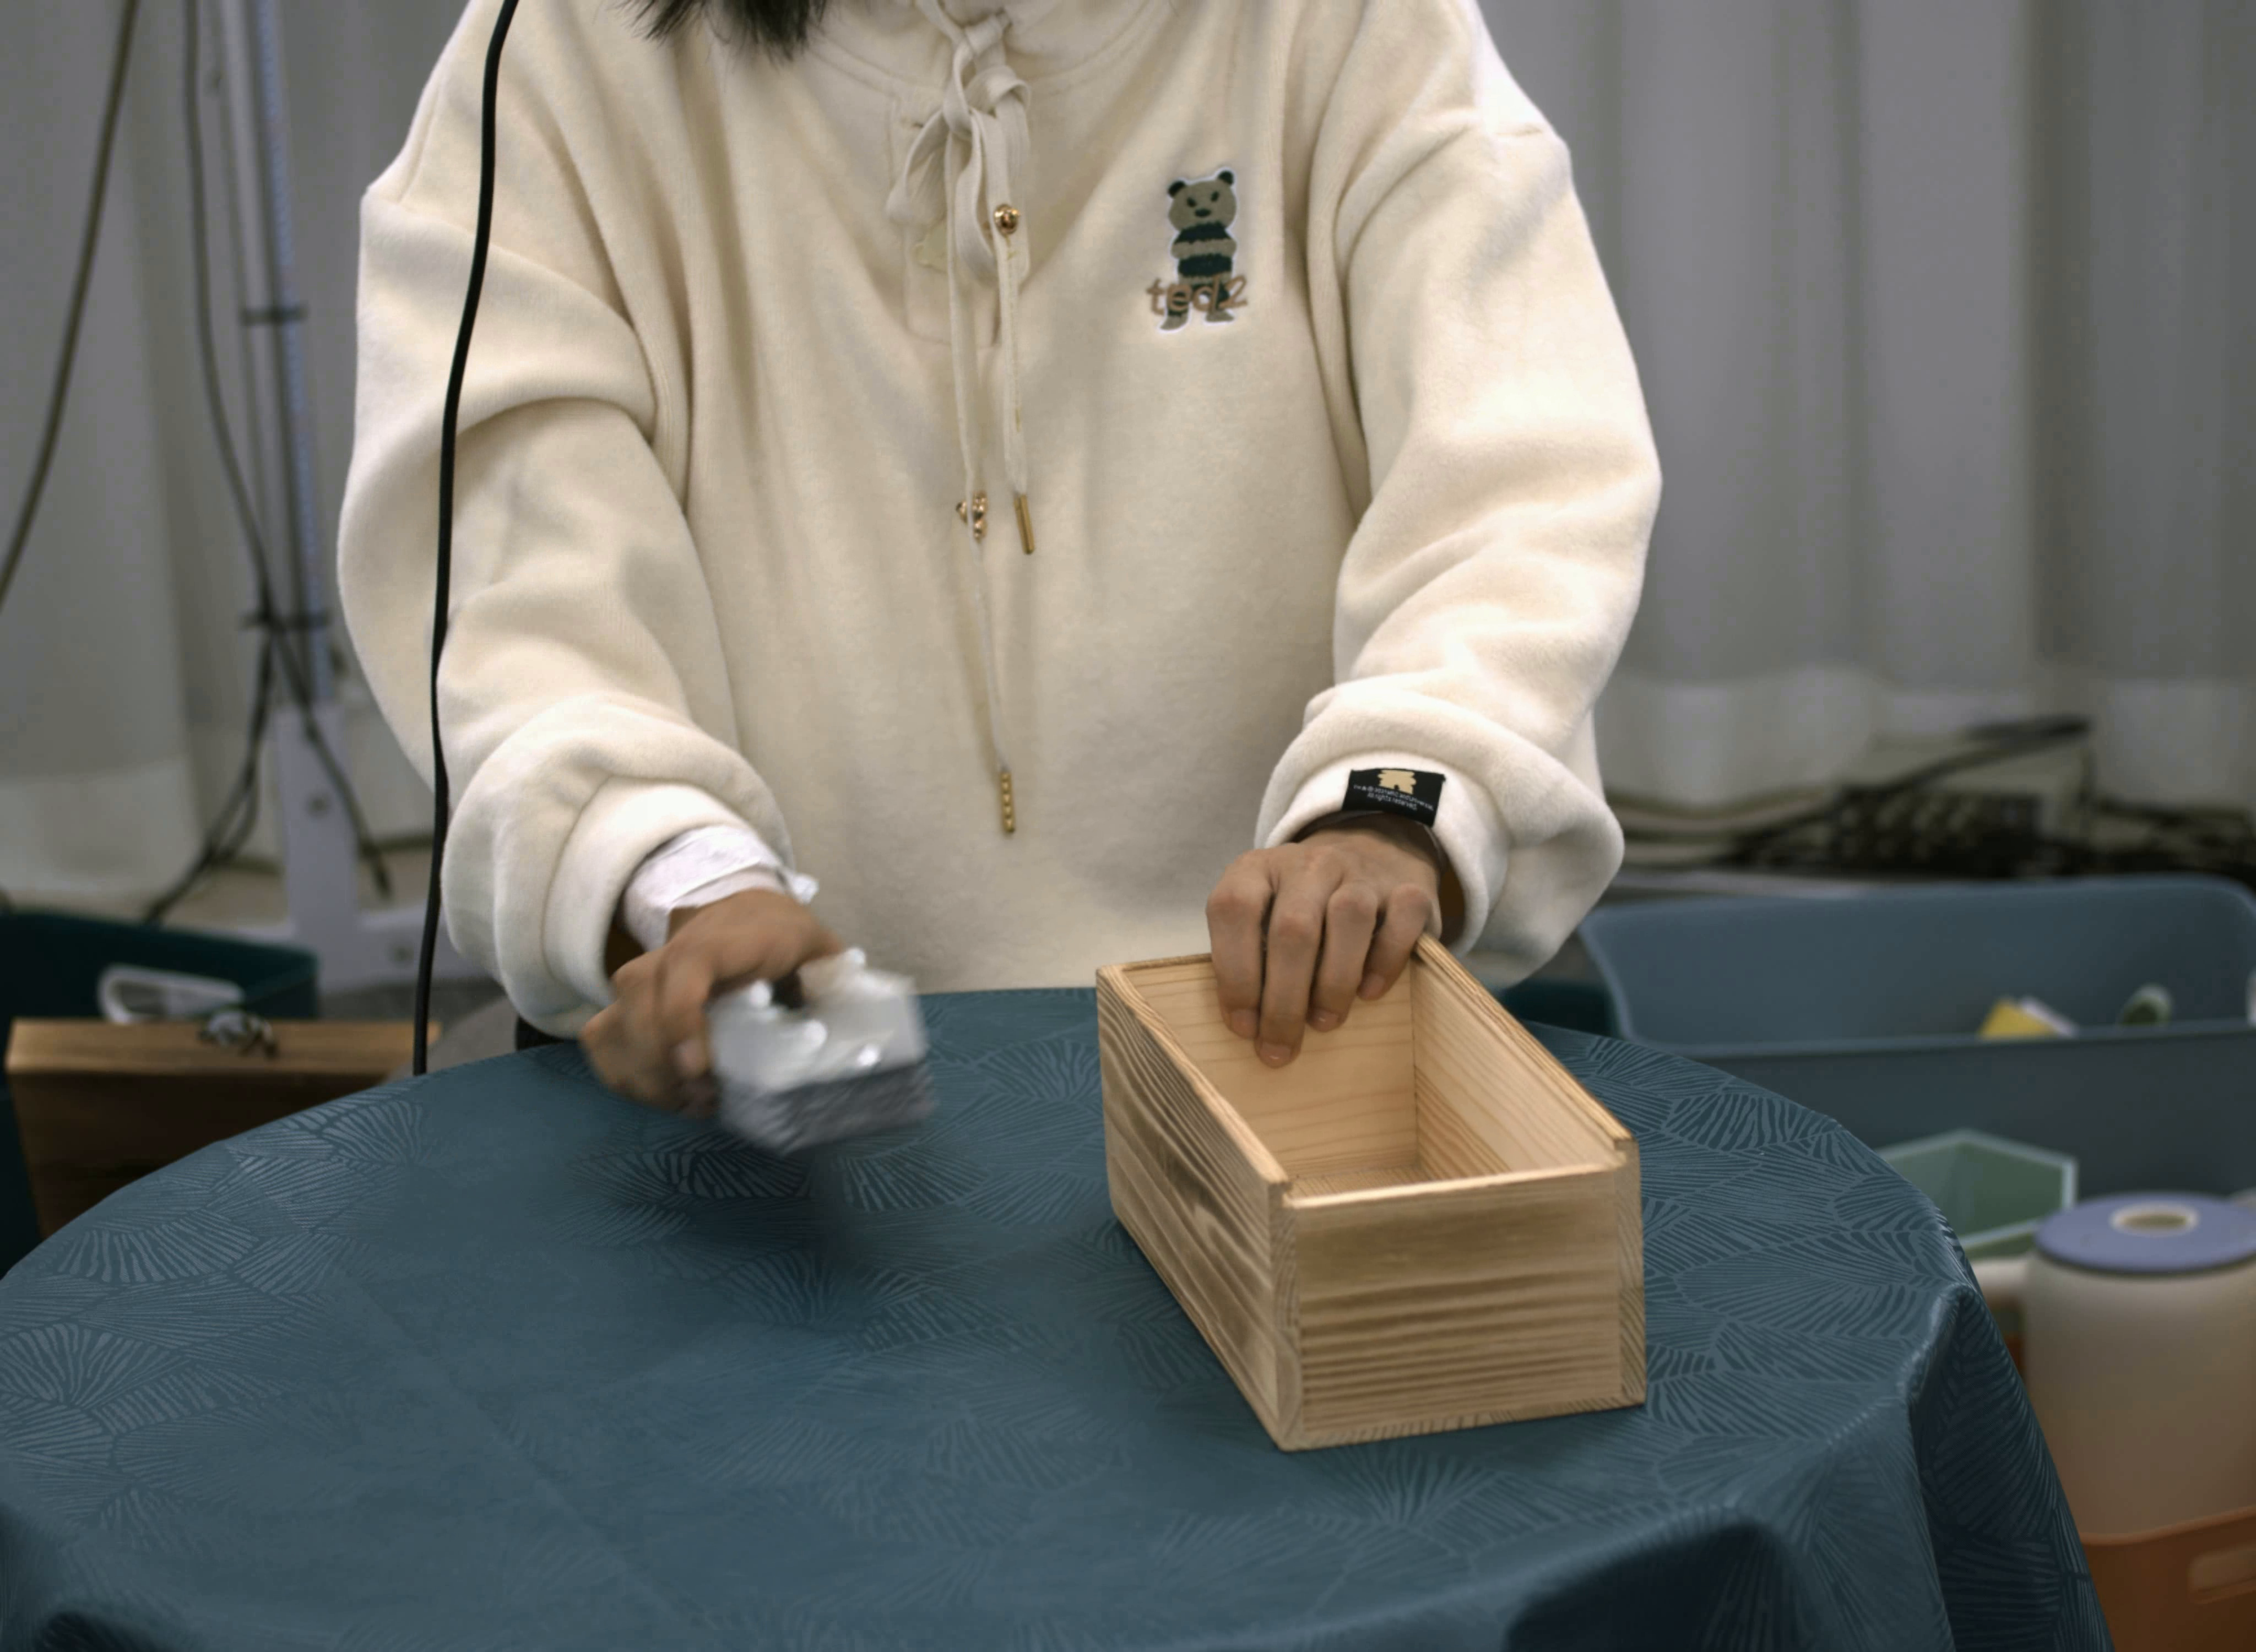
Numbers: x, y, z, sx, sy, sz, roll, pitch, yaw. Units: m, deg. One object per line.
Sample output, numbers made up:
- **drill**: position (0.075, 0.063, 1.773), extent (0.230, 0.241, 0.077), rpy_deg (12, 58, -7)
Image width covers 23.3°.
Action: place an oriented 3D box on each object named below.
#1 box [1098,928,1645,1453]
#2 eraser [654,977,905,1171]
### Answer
- **box**: position (0.067, 0.102, 1.592), extent (0.107, 0.080, 0.213), rpy_deg (-6, 16, -13)
- **eraser**: position (-0.106, 0.075, 1.670), extent (0.049, 0.046, 0.134), rpy_deg (-13, 6, -15)
